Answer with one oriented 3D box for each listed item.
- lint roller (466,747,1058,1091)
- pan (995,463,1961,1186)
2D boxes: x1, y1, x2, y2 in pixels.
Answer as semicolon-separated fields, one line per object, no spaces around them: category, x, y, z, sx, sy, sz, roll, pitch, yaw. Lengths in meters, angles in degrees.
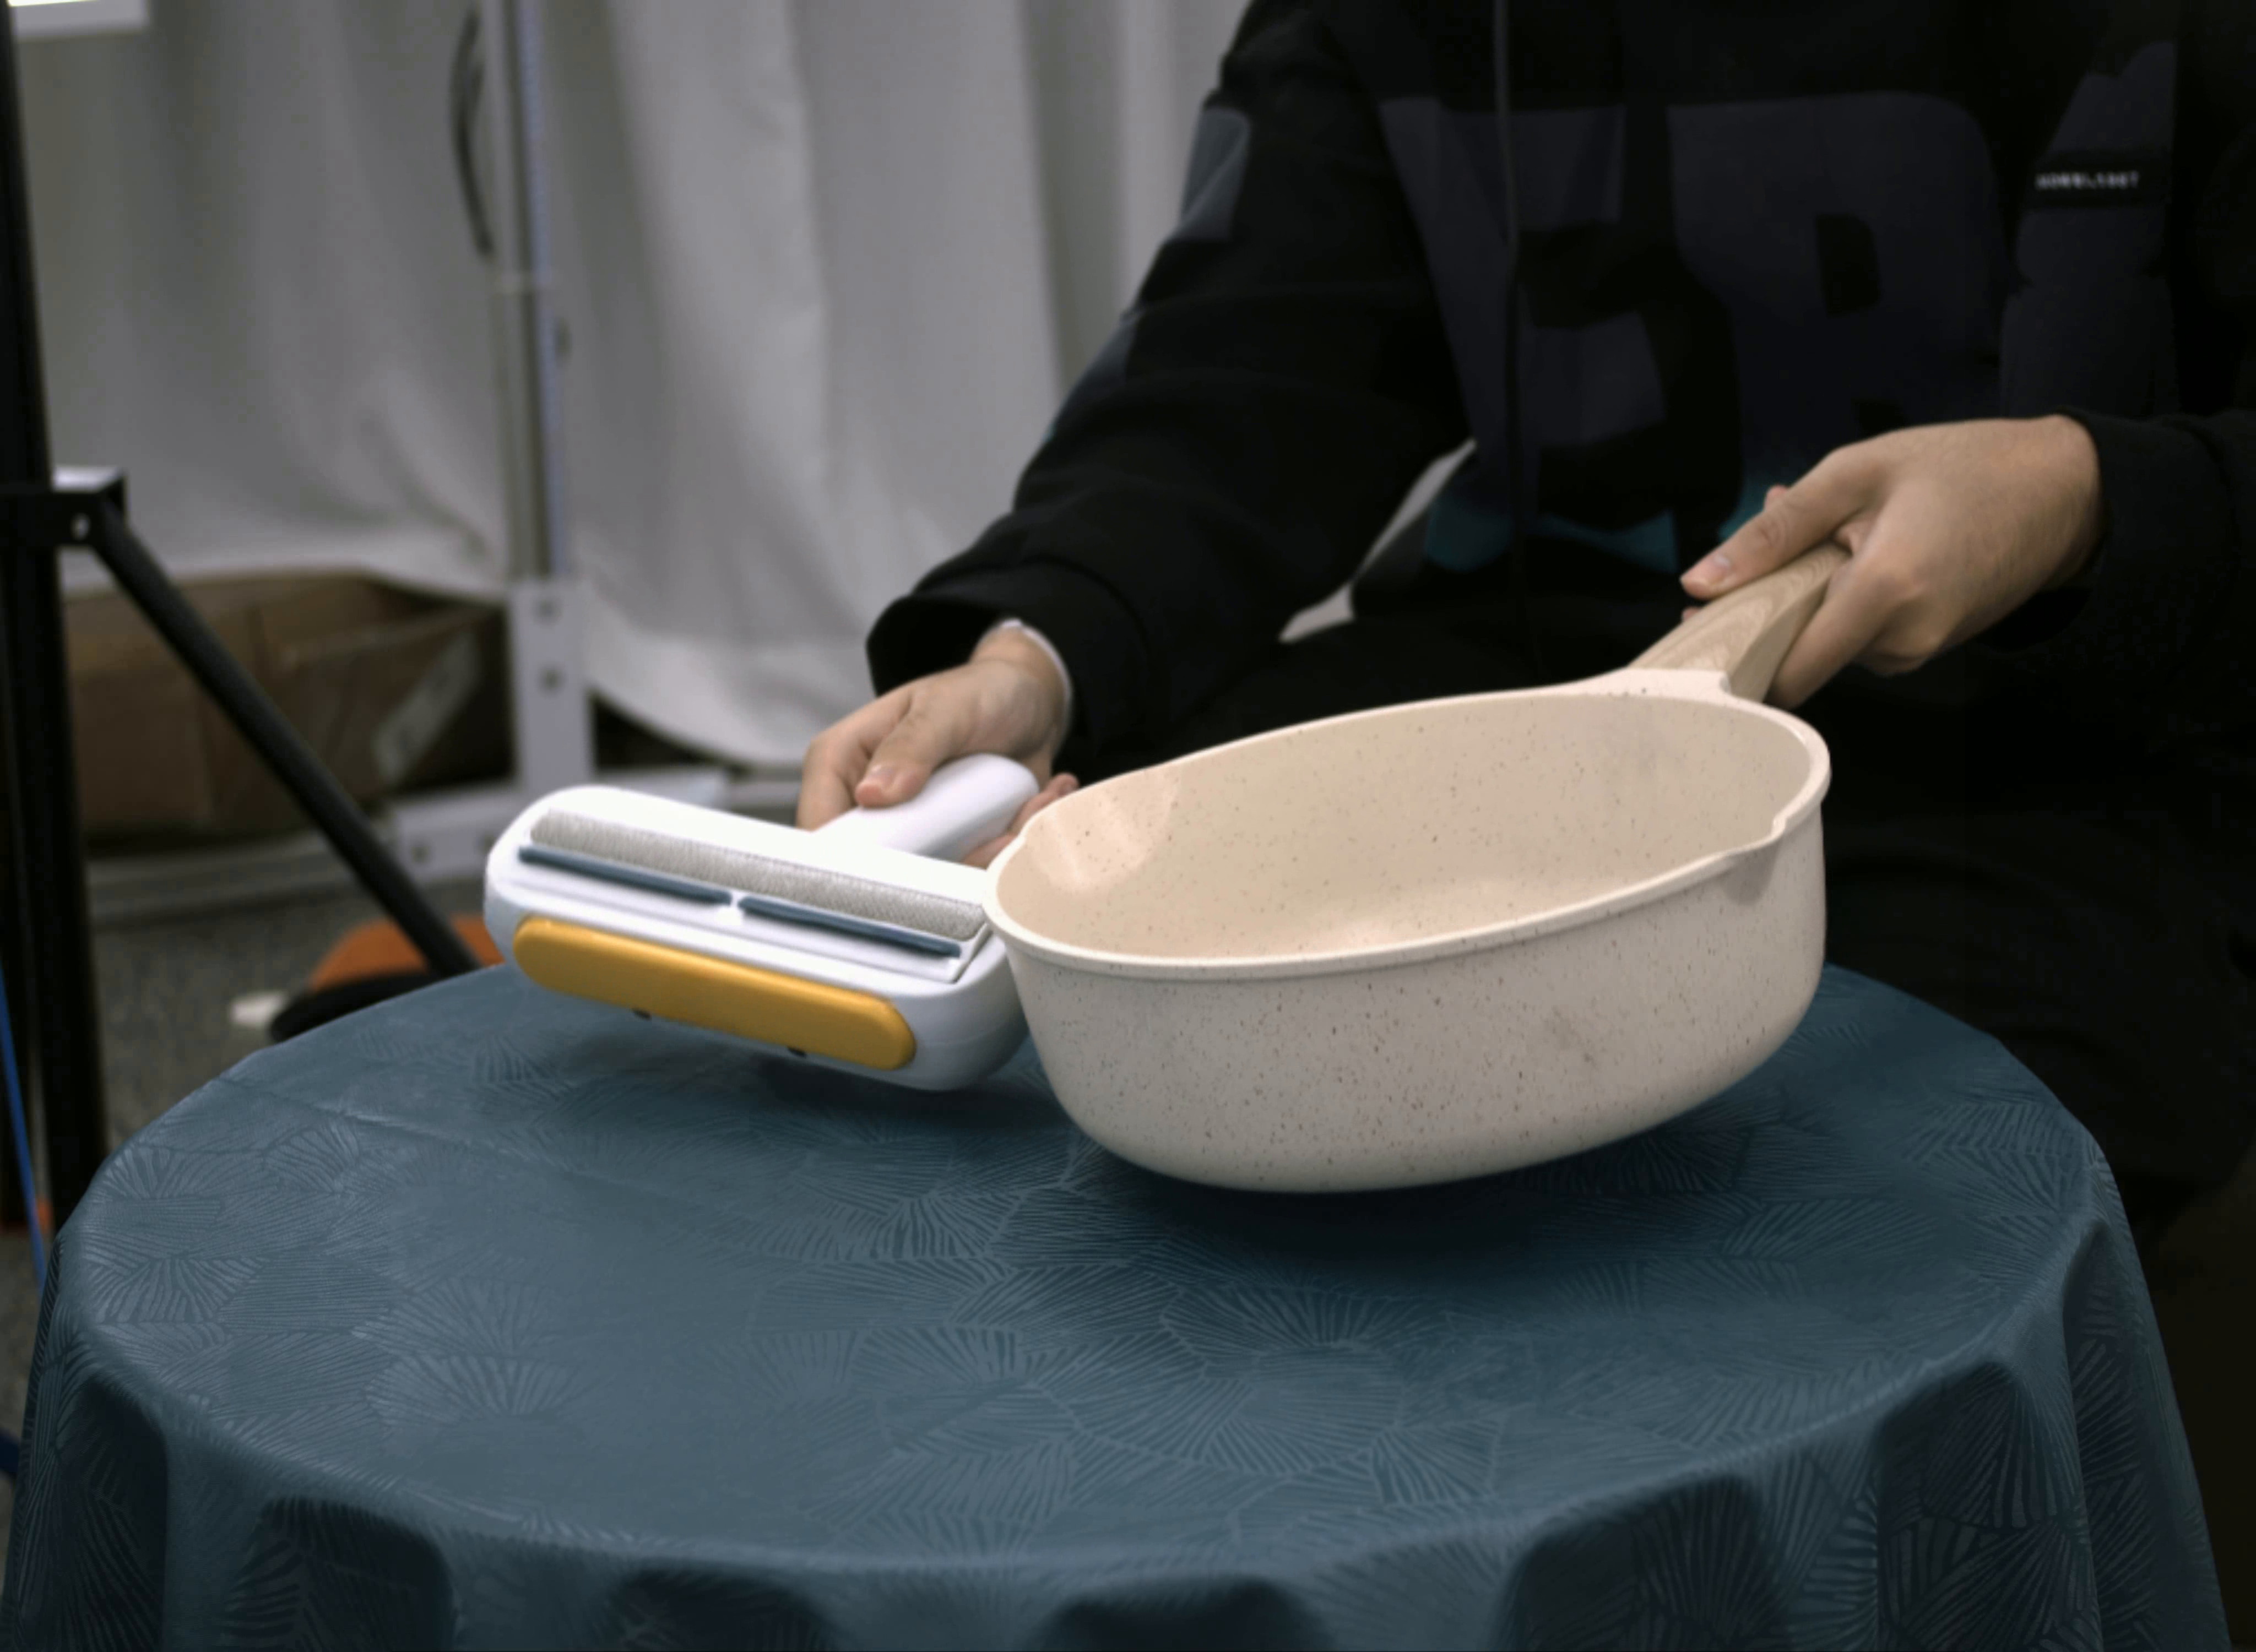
lint roller;-0.089;0.010;1.716;0.196;0.073;0.190;11;35;33
pan;0.146;-0.002;1.616;0.269;0.102;0.426;0;19;42
